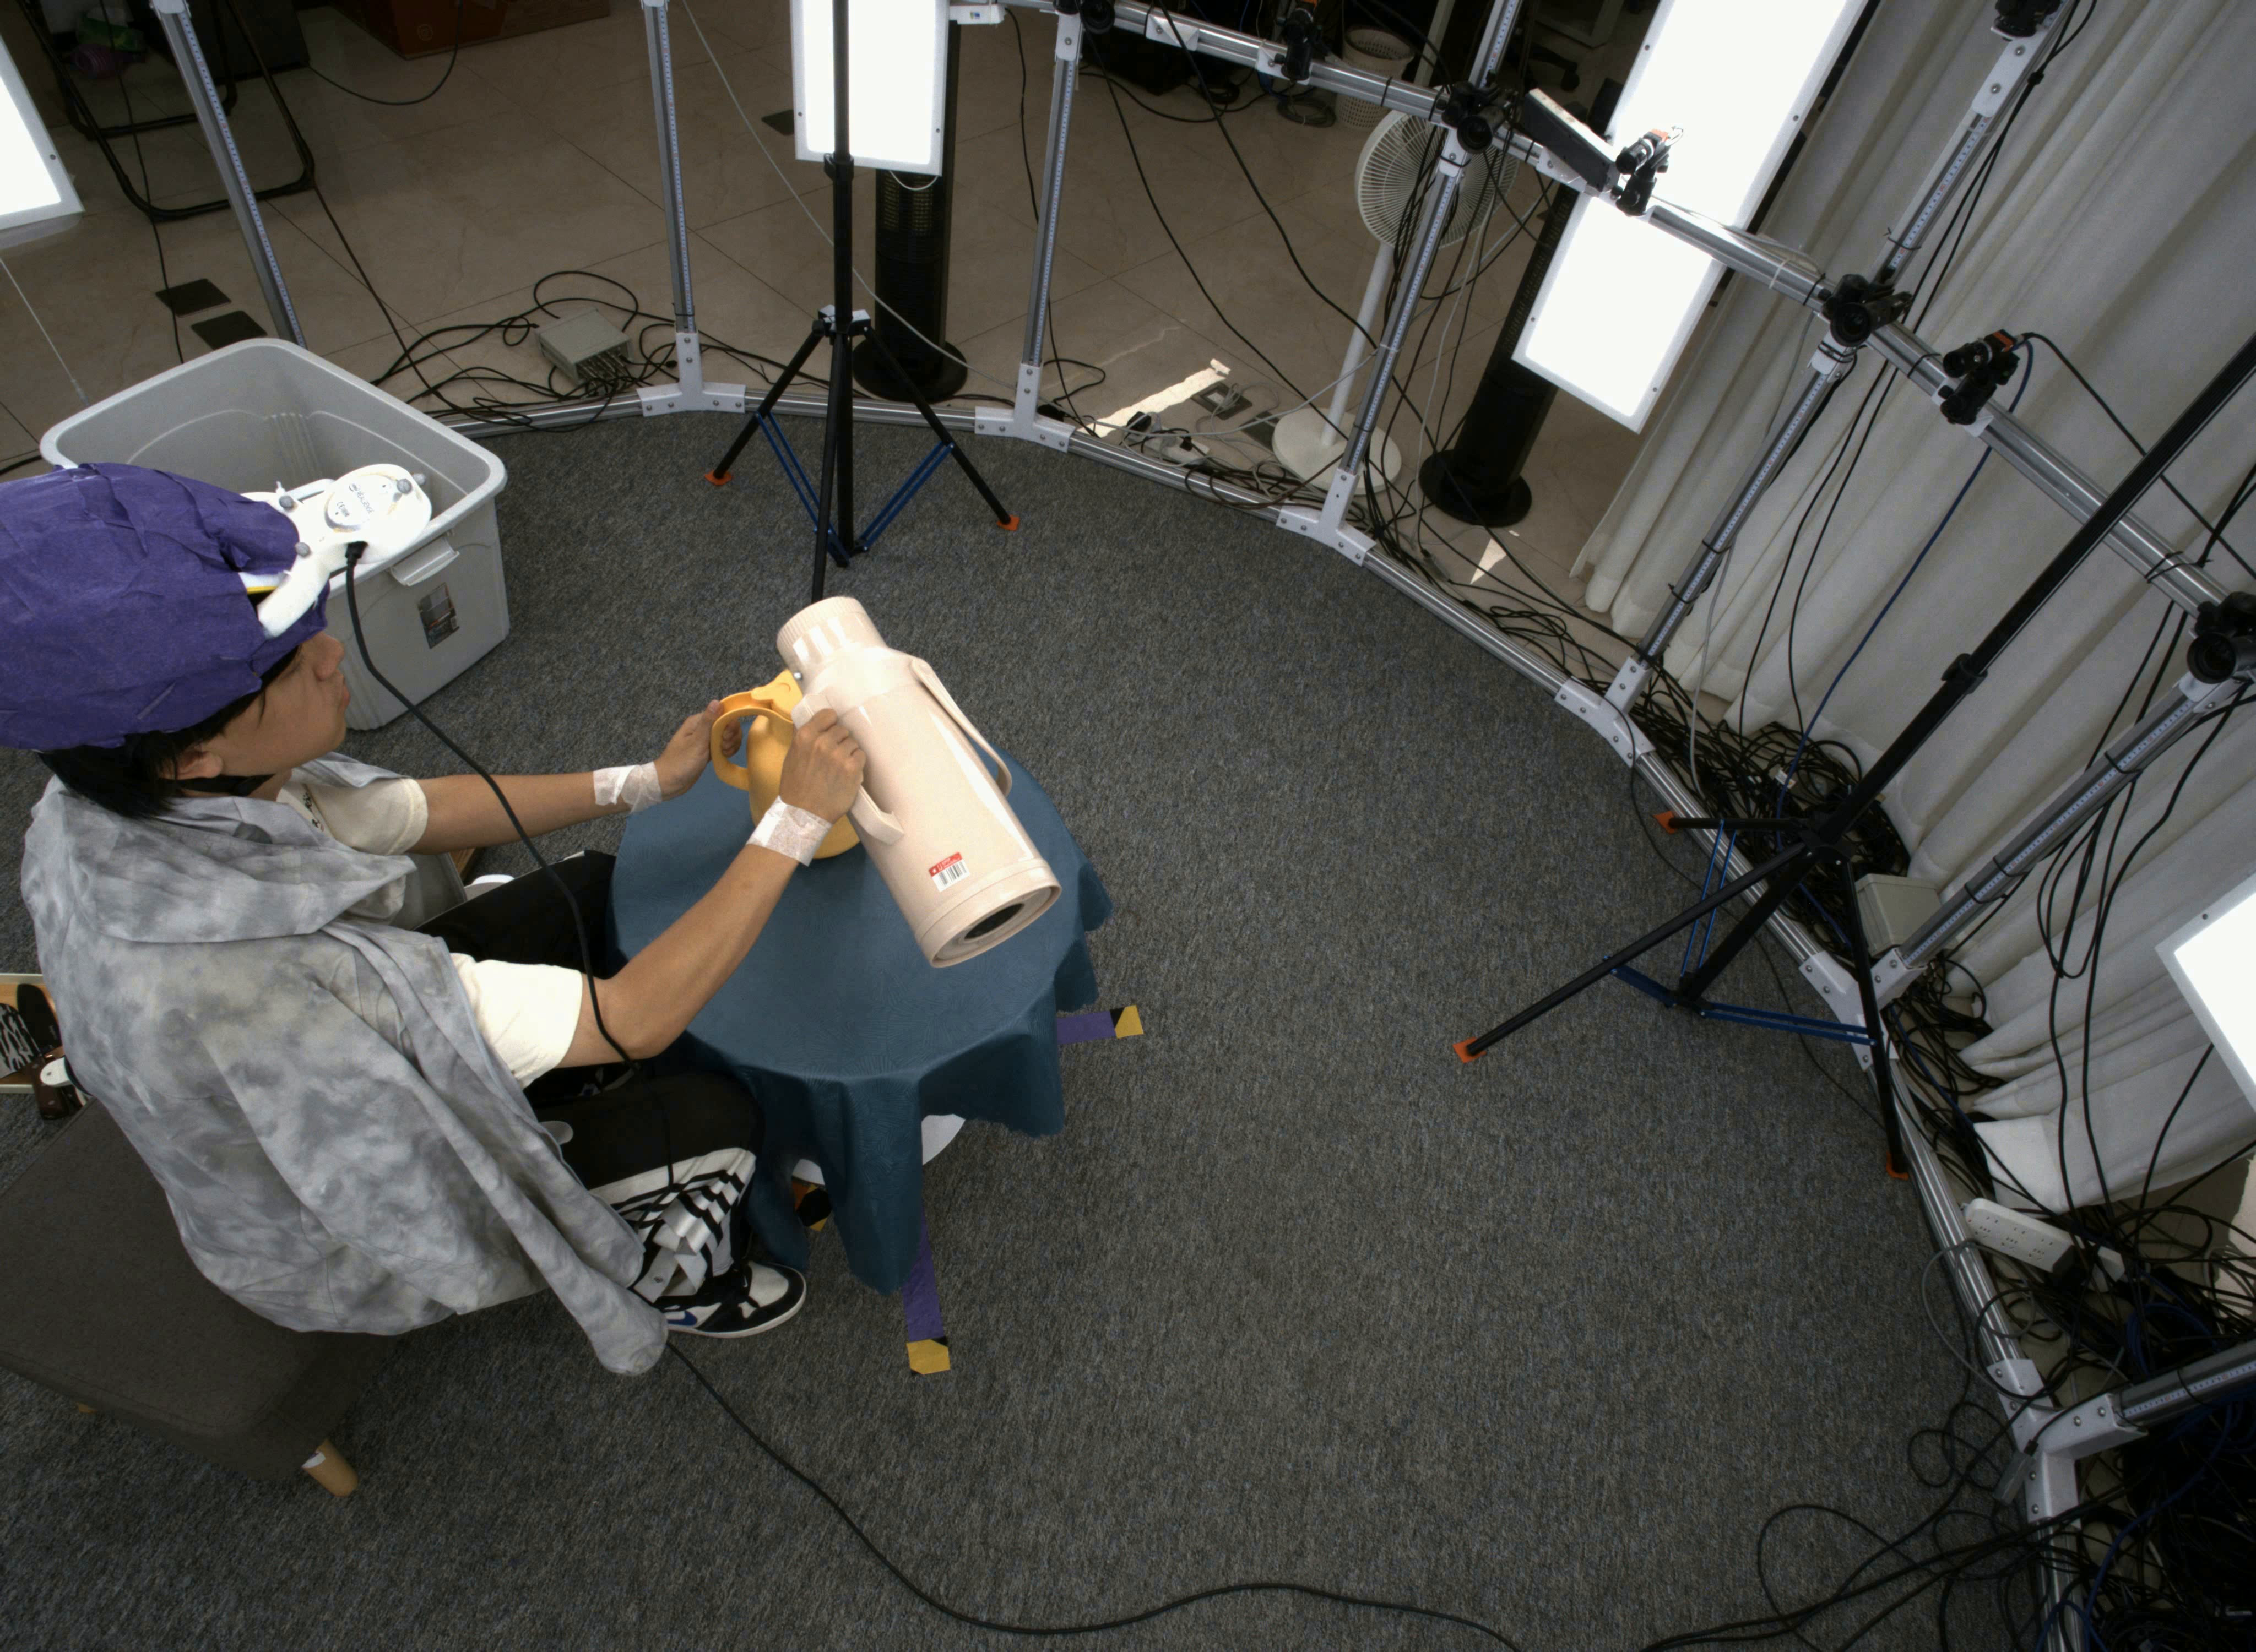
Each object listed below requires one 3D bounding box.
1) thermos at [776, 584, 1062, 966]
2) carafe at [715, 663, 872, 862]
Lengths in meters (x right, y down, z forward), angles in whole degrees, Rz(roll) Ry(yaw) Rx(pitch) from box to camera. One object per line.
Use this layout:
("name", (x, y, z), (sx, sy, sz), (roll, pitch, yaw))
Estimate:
("thermos", (-0.243, -0.062, 1.370), (0.403, 0.174, 0.210), (59, 25, 11))
("carafe", (-0.412, -0.087, 1.626), (0.203, 0.266, 0.159), (-3, 51, -15))
